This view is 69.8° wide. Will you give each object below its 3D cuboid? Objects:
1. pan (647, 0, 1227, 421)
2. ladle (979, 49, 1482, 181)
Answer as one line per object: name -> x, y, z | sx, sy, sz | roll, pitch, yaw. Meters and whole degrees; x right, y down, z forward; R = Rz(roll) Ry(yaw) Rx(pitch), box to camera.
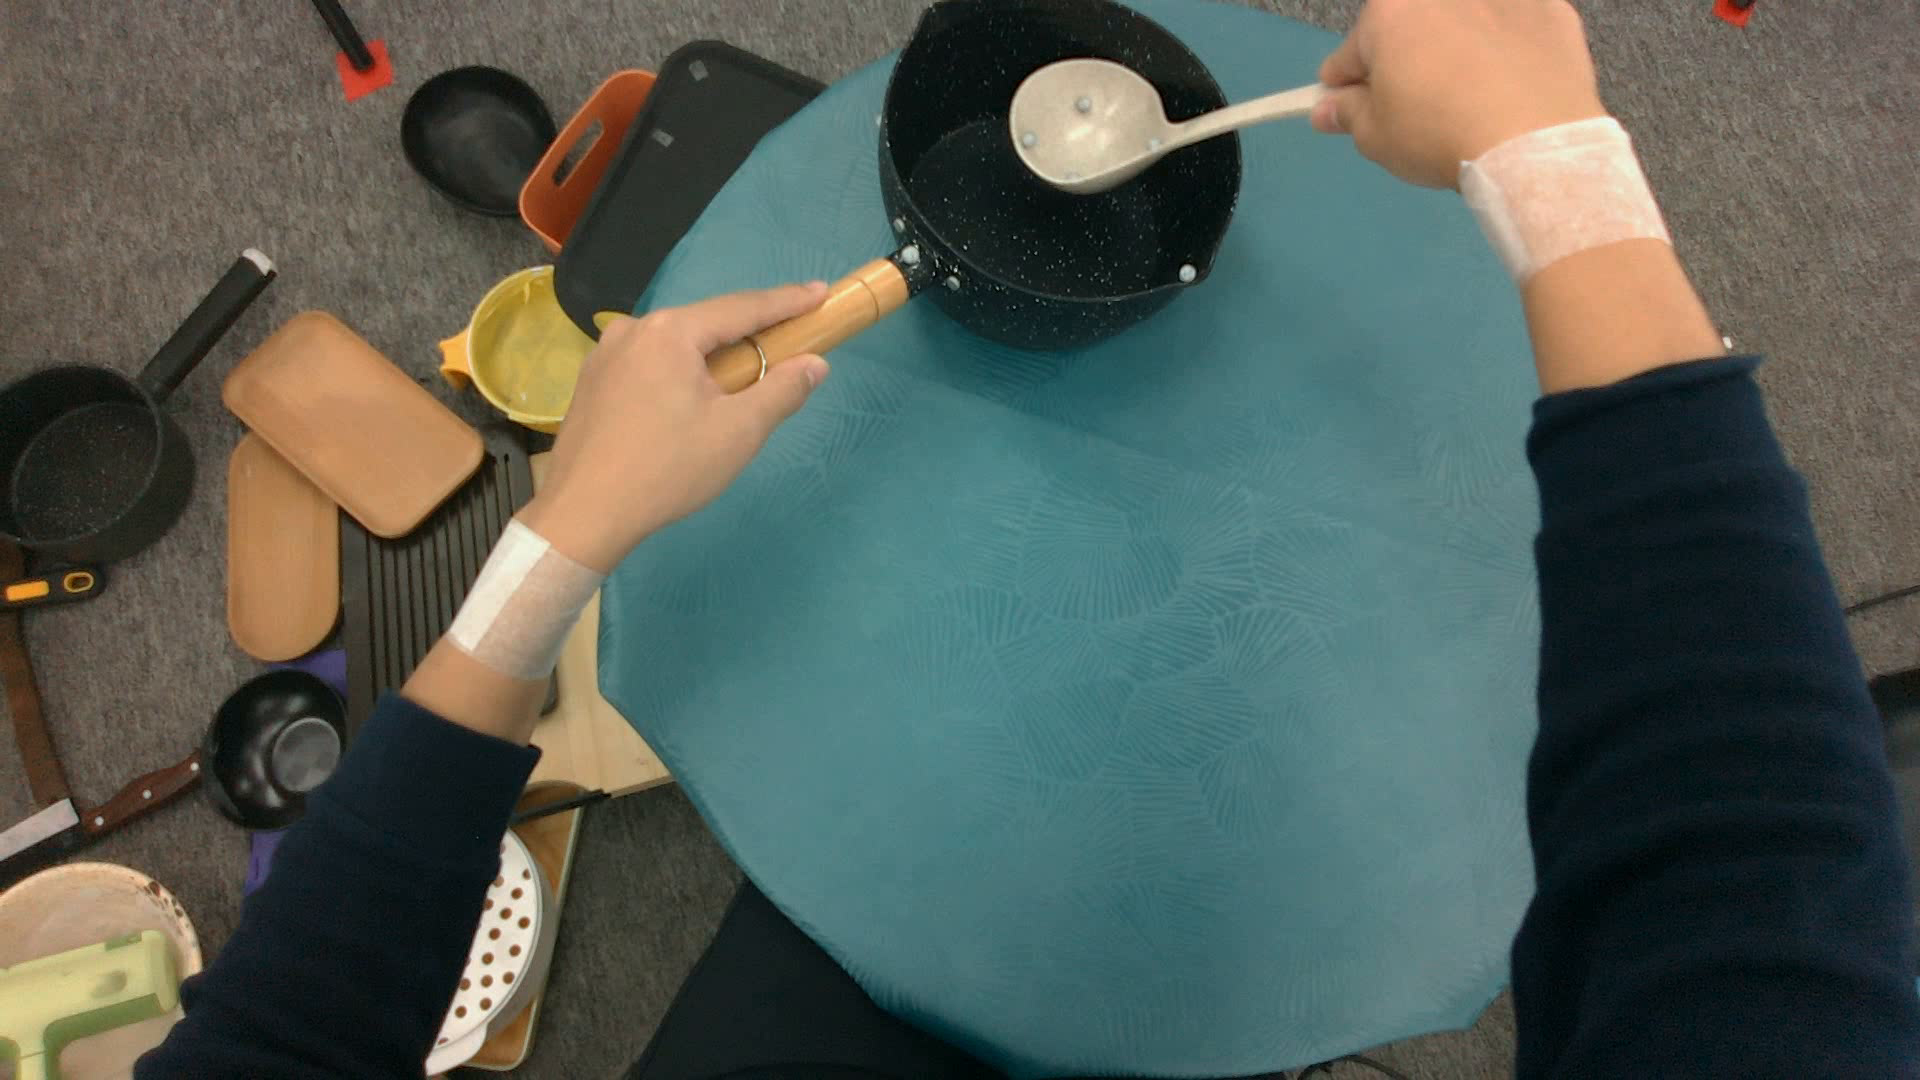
pan -> -0.014, -0.144, 0.688 | 0.207, 0.108, 0.344 | 45, 67, 7
ladle -> 0.114, -0.223, 0.652 | 0.089, 0.274, 0.069 | -43, 116, -25
